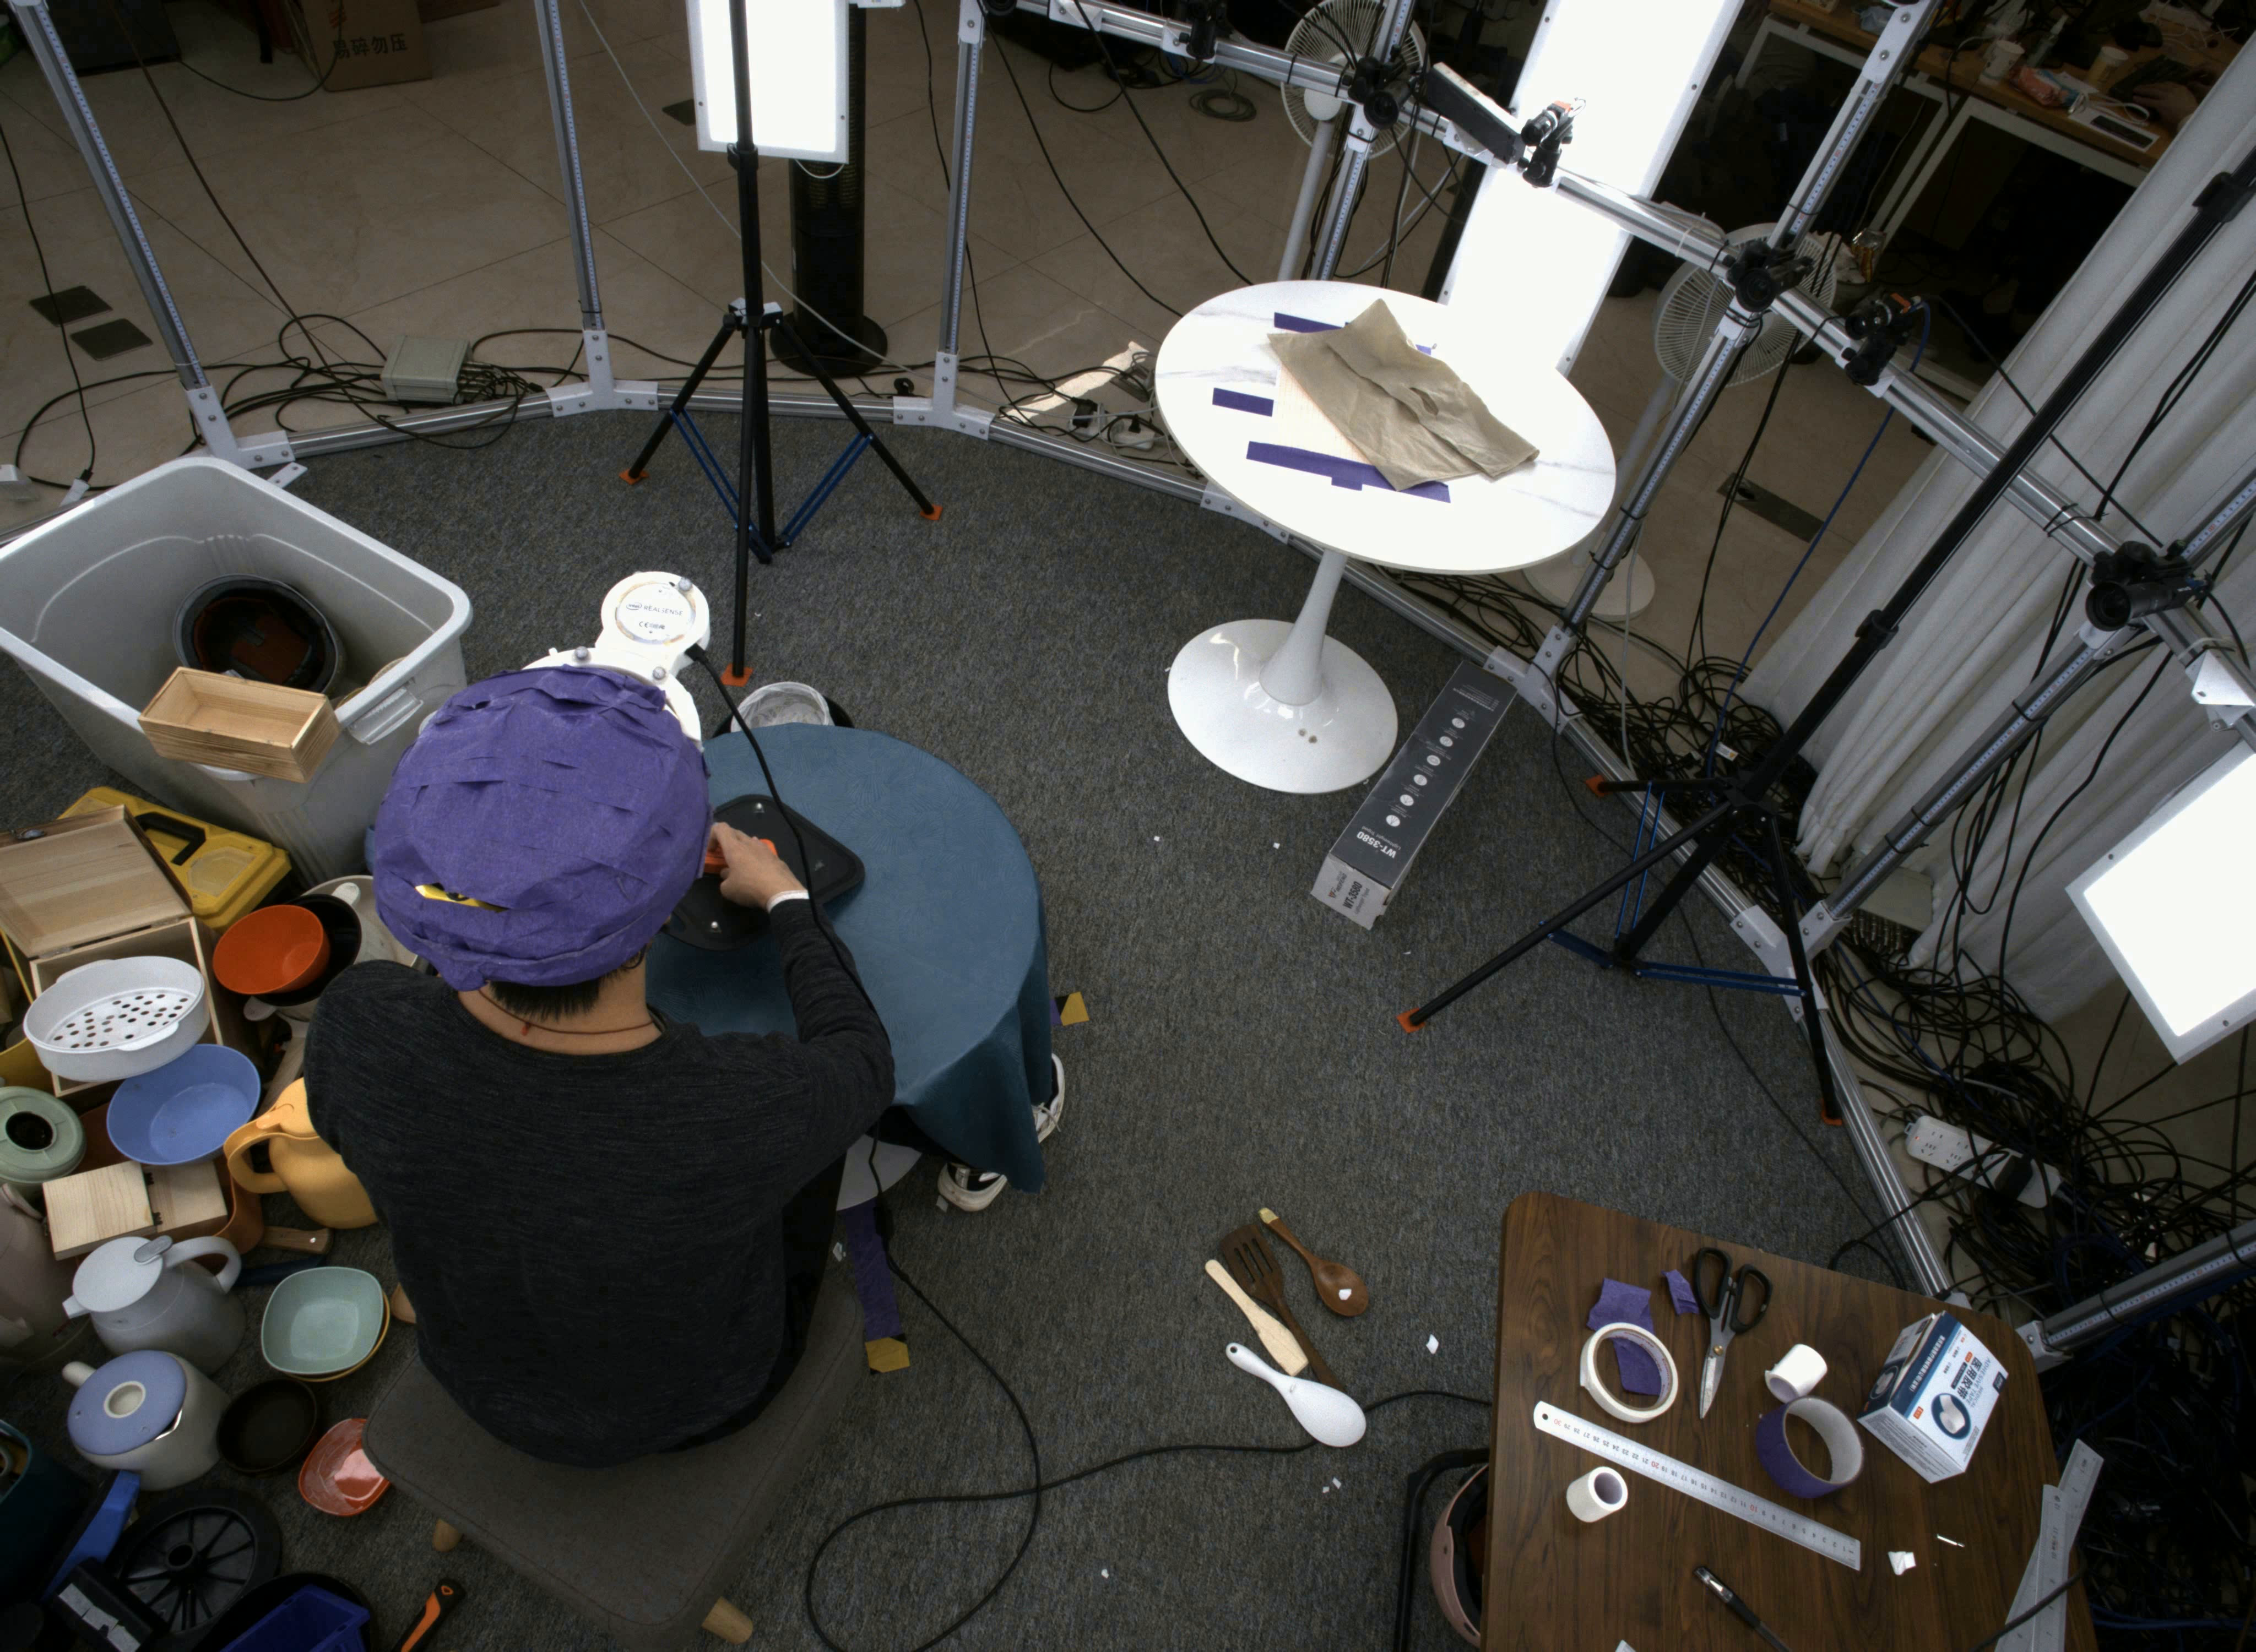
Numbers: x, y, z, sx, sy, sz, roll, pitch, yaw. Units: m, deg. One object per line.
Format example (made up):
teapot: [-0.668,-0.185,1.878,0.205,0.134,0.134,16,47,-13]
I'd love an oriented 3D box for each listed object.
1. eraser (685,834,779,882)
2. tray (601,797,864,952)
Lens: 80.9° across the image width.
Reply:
eraser: [-0.486,0.037,1.586,0.110,0.023,0.057,6,37,-34]
tray: [-0.484,0.052,1.583,0.207,0.010,0.327,34,30,13]
